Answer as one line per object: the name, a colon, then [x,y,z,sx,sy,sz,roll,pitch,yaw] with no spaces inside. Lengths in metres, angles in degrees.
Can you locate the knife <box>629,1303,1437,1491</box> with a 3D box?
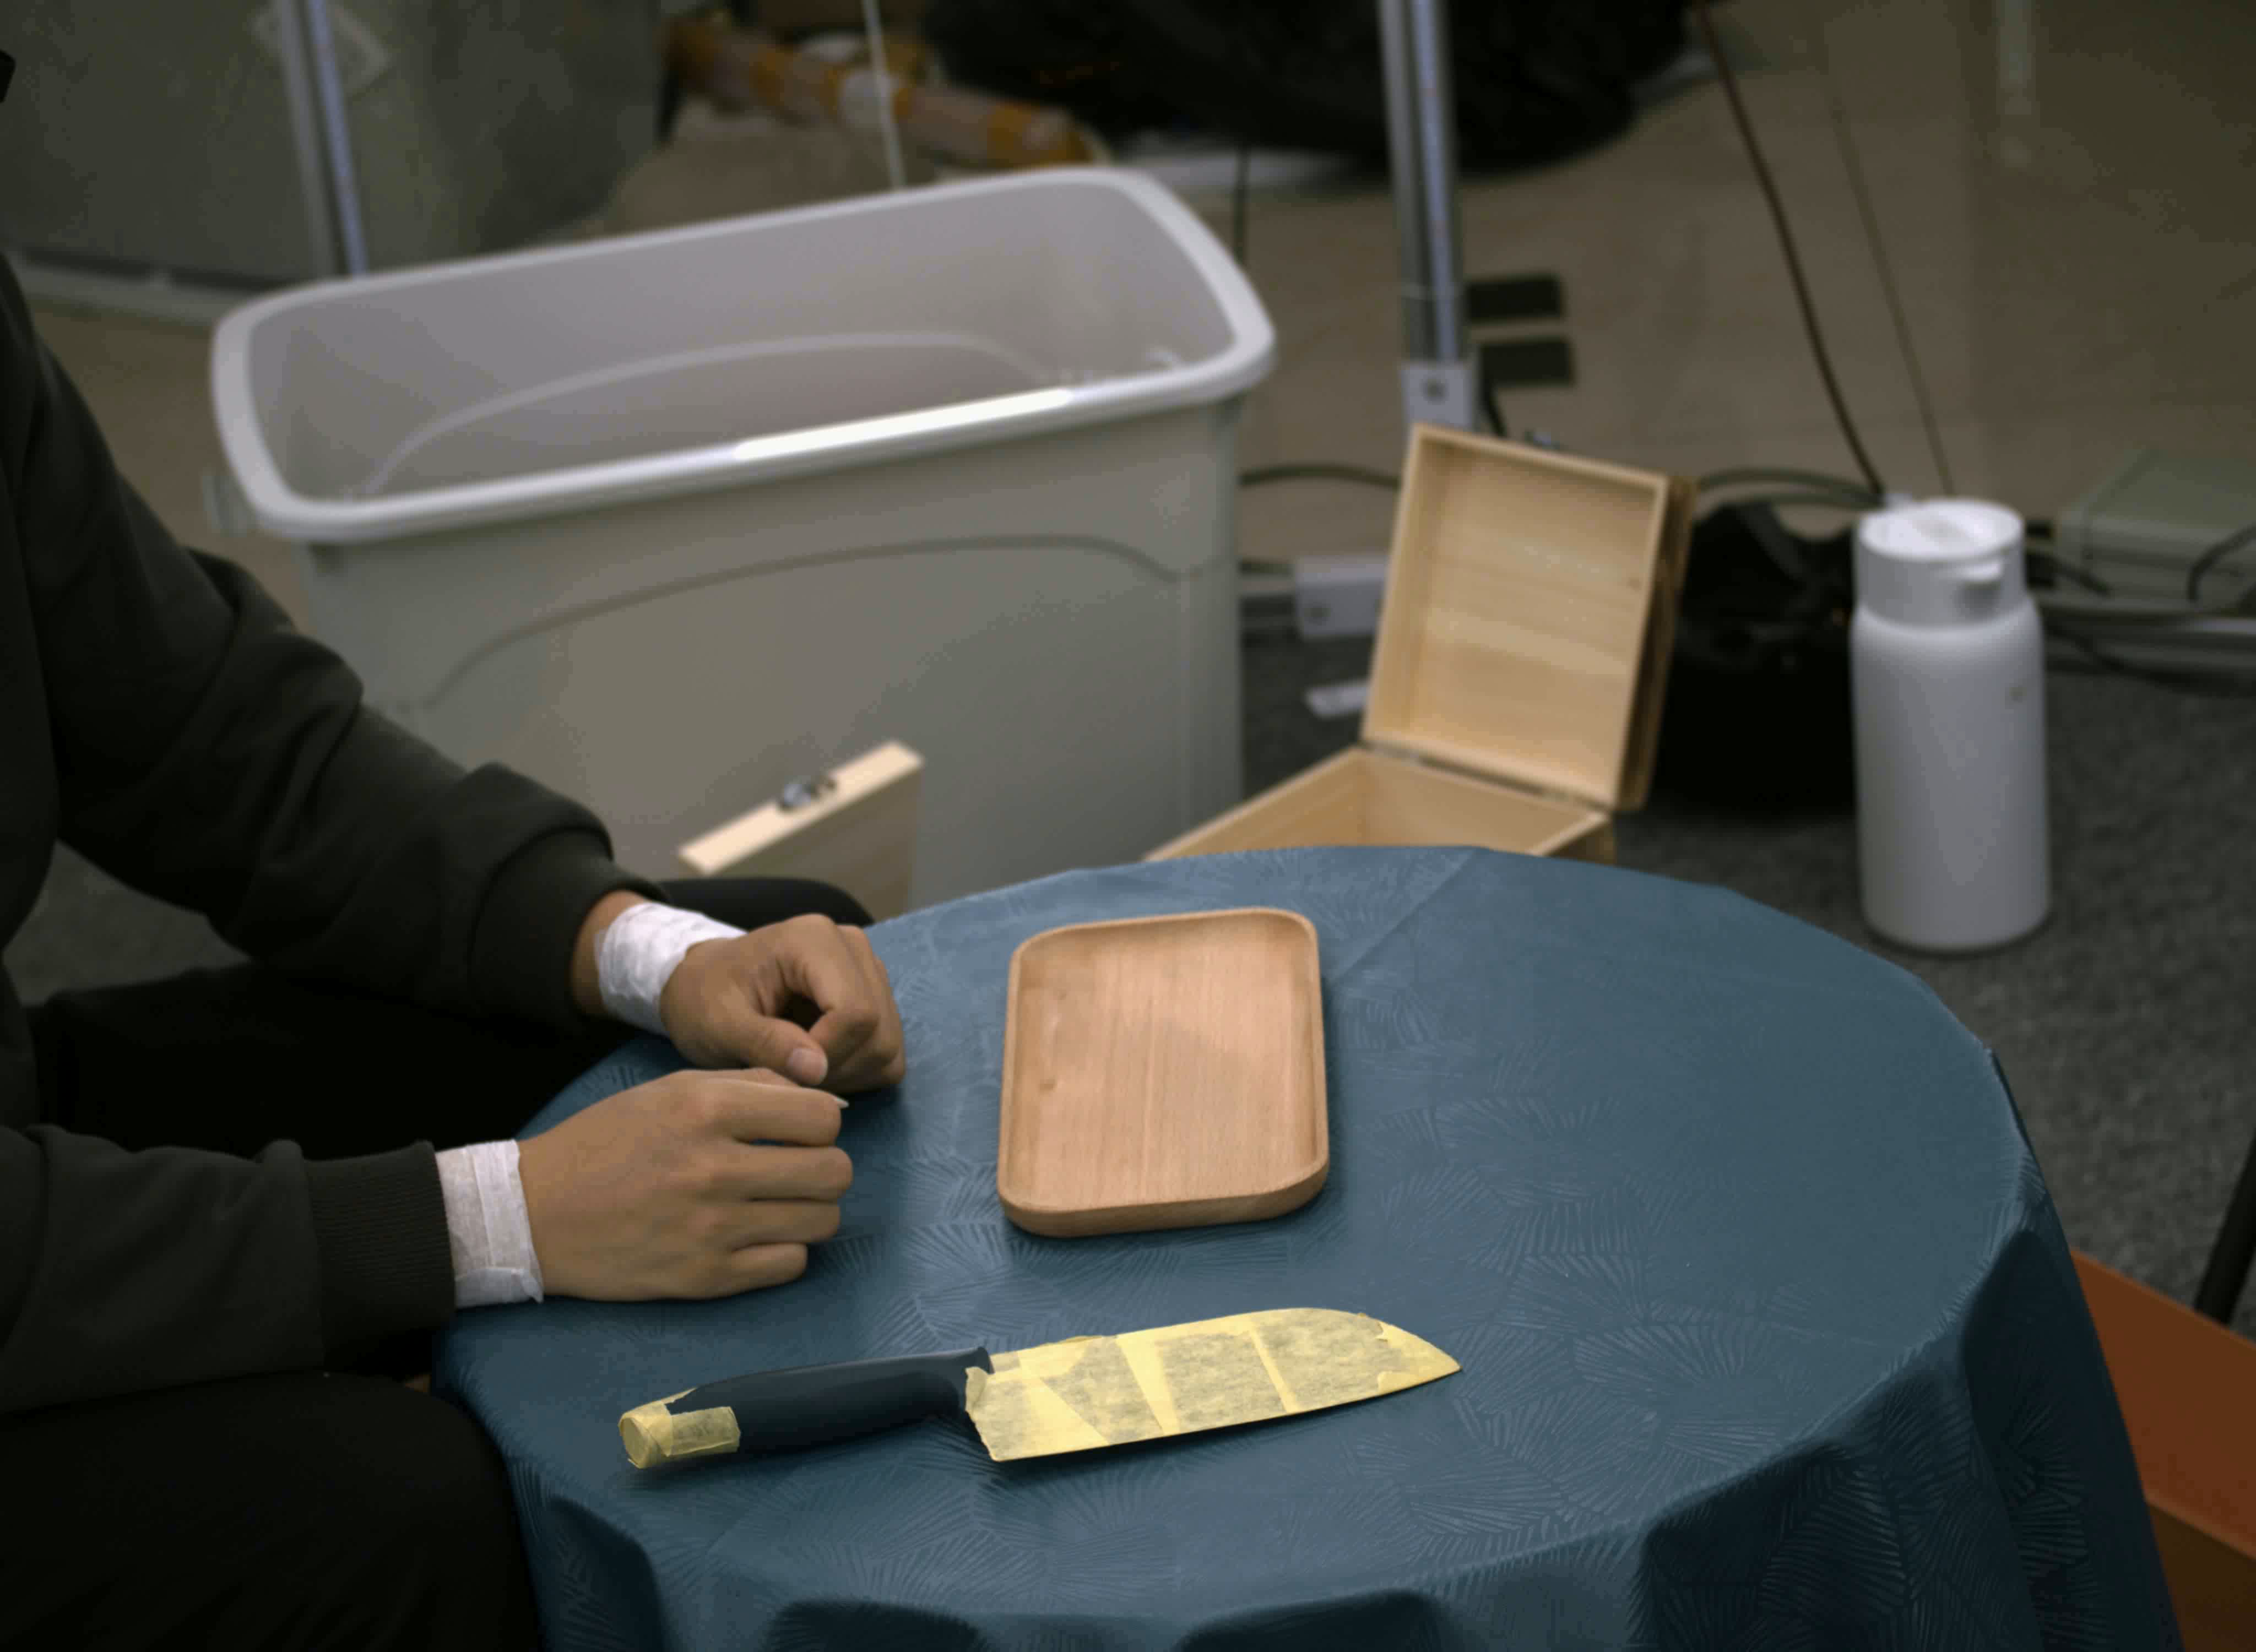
knife: [-0.032,0.204,2.003,0.289,0.027,0.080,-9,23,-7]

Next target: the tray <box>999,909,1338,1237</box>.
tray: [0.016,0.095,2.224,0.130,0.023,0.247,-8,25,4]
